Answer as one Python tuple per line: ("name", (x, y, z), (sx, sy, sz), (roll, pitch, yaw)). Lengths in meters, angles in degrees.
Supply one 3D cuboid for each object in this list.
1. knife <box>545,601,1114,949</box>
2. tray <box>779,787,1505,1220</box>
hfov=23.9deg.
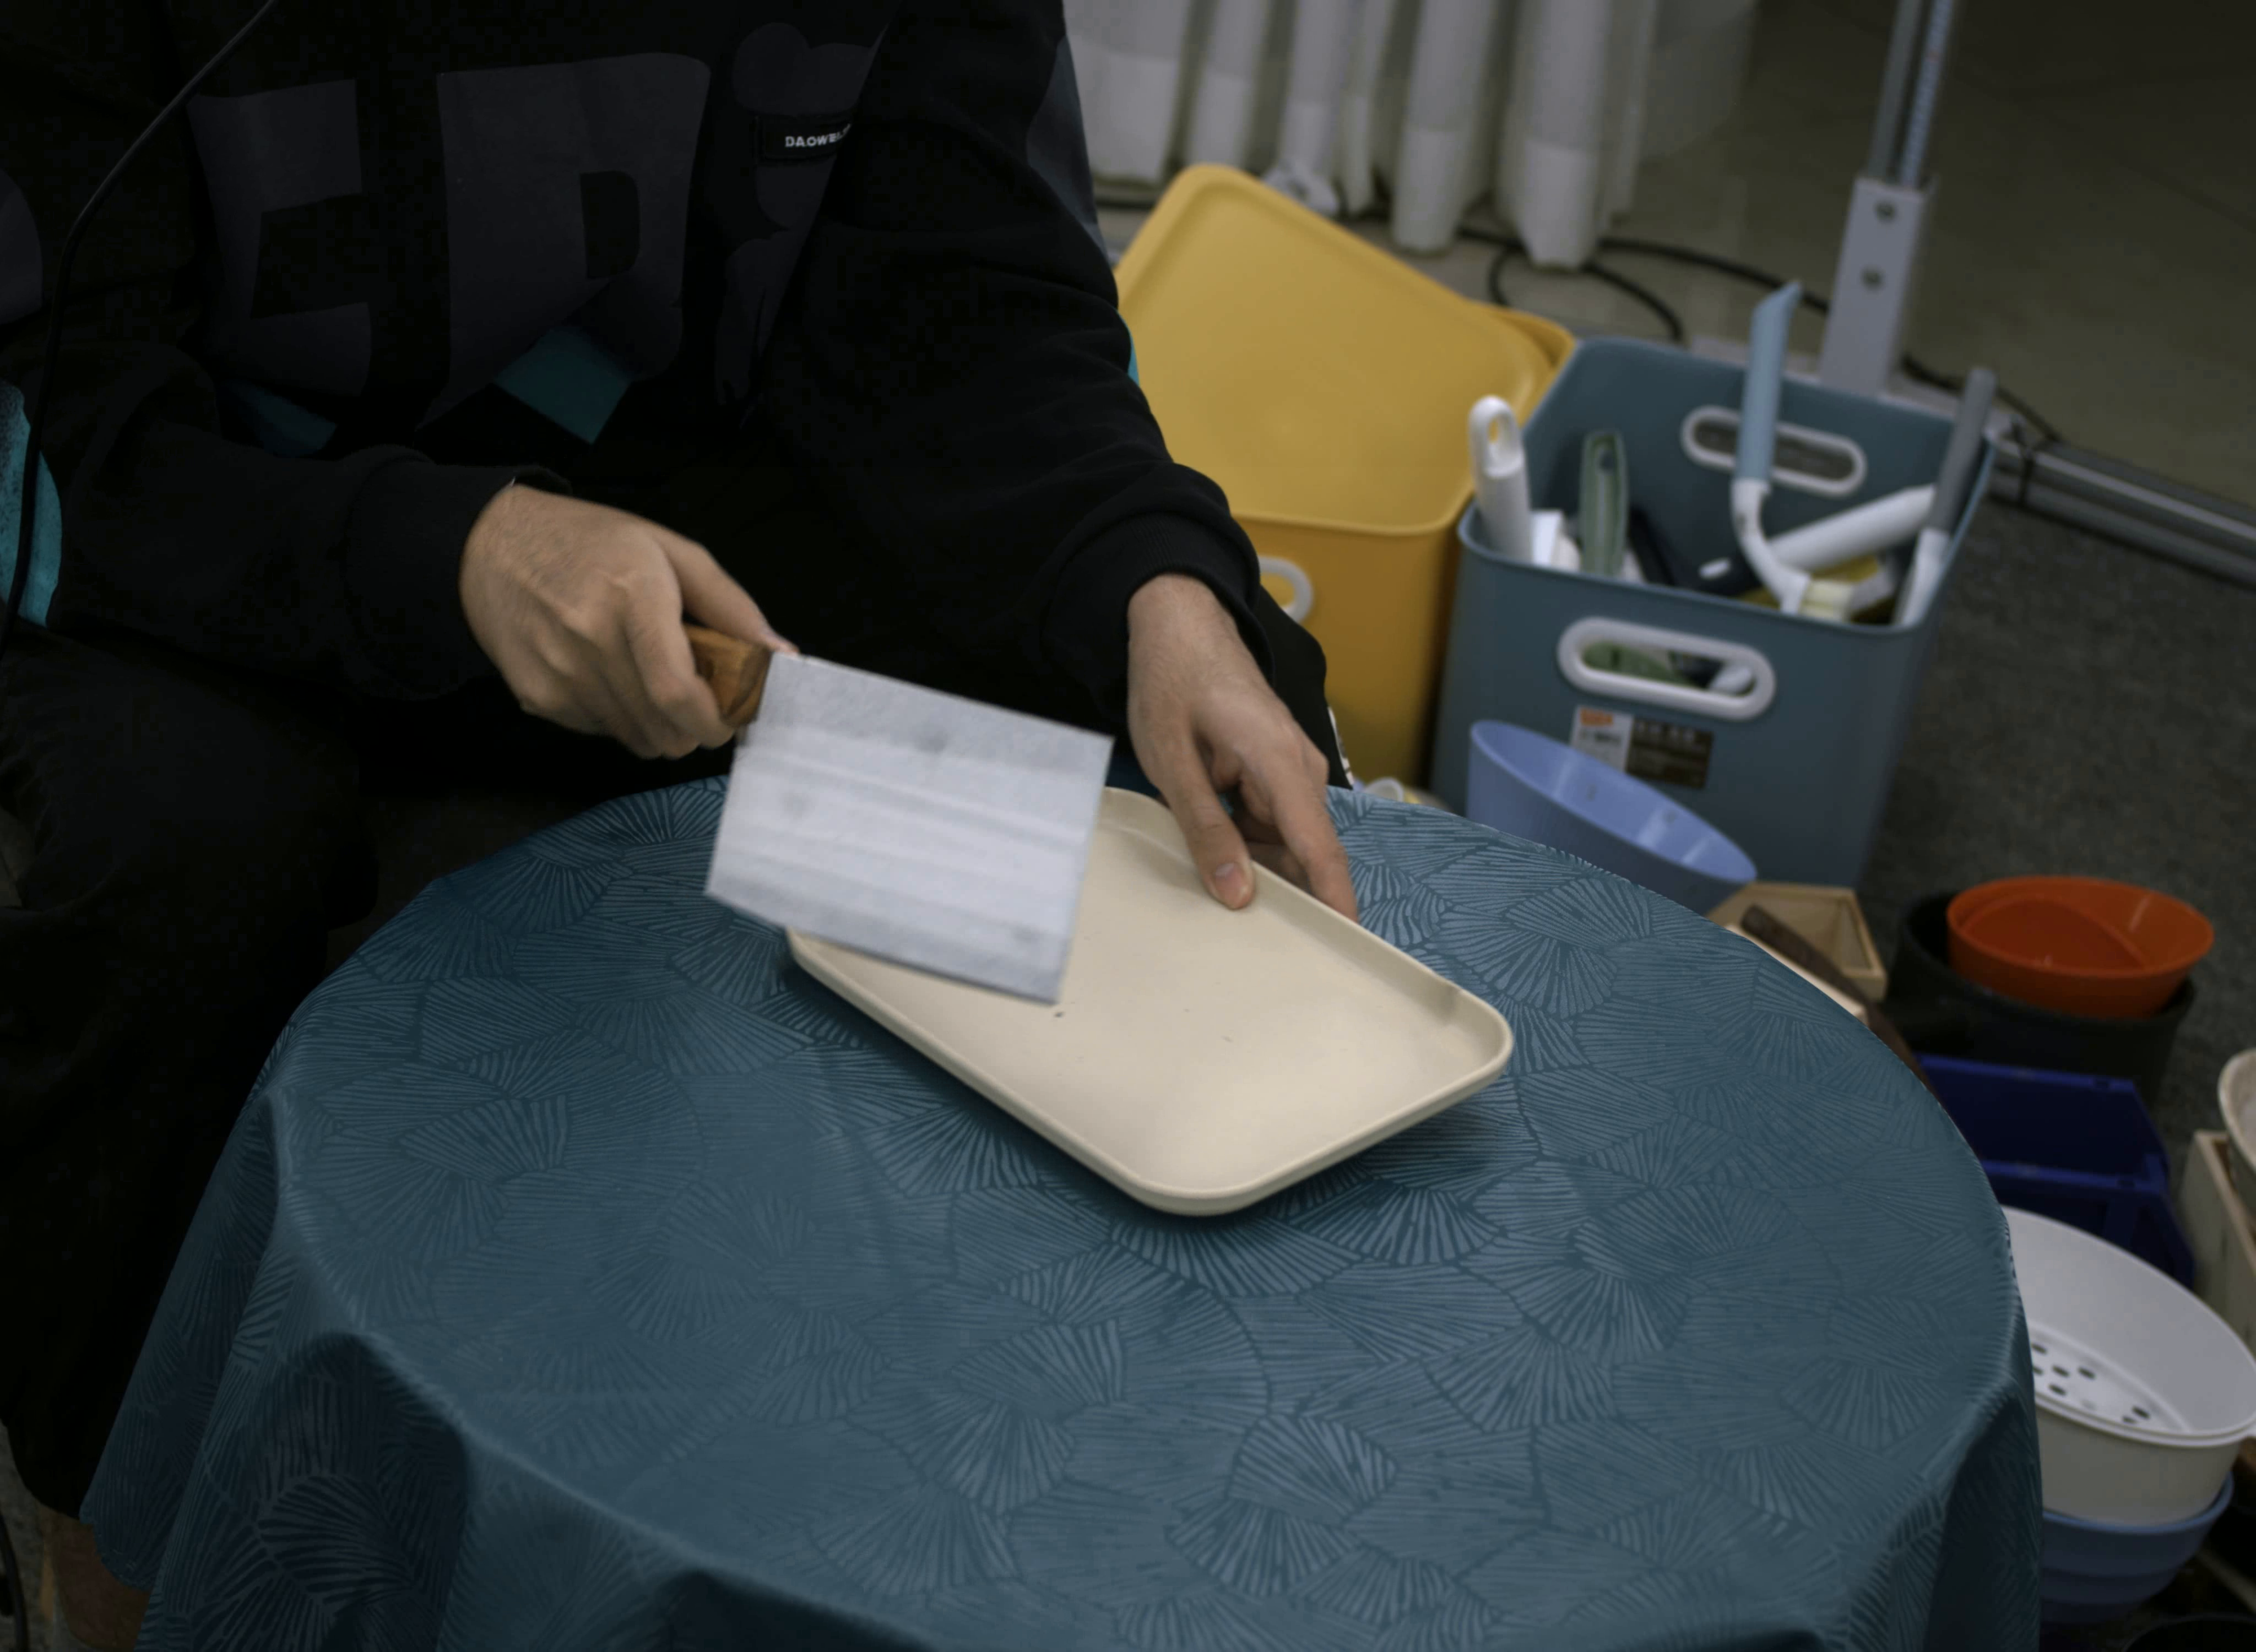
("knife", (-0.110, -0.017, 1.824), (0.021, 0.093, 0.308), (6, 6, -42))
("tray", (0.003, 0.061, 1.888), (0.170, 0.017, 0.241), (-24, 39, -33))
